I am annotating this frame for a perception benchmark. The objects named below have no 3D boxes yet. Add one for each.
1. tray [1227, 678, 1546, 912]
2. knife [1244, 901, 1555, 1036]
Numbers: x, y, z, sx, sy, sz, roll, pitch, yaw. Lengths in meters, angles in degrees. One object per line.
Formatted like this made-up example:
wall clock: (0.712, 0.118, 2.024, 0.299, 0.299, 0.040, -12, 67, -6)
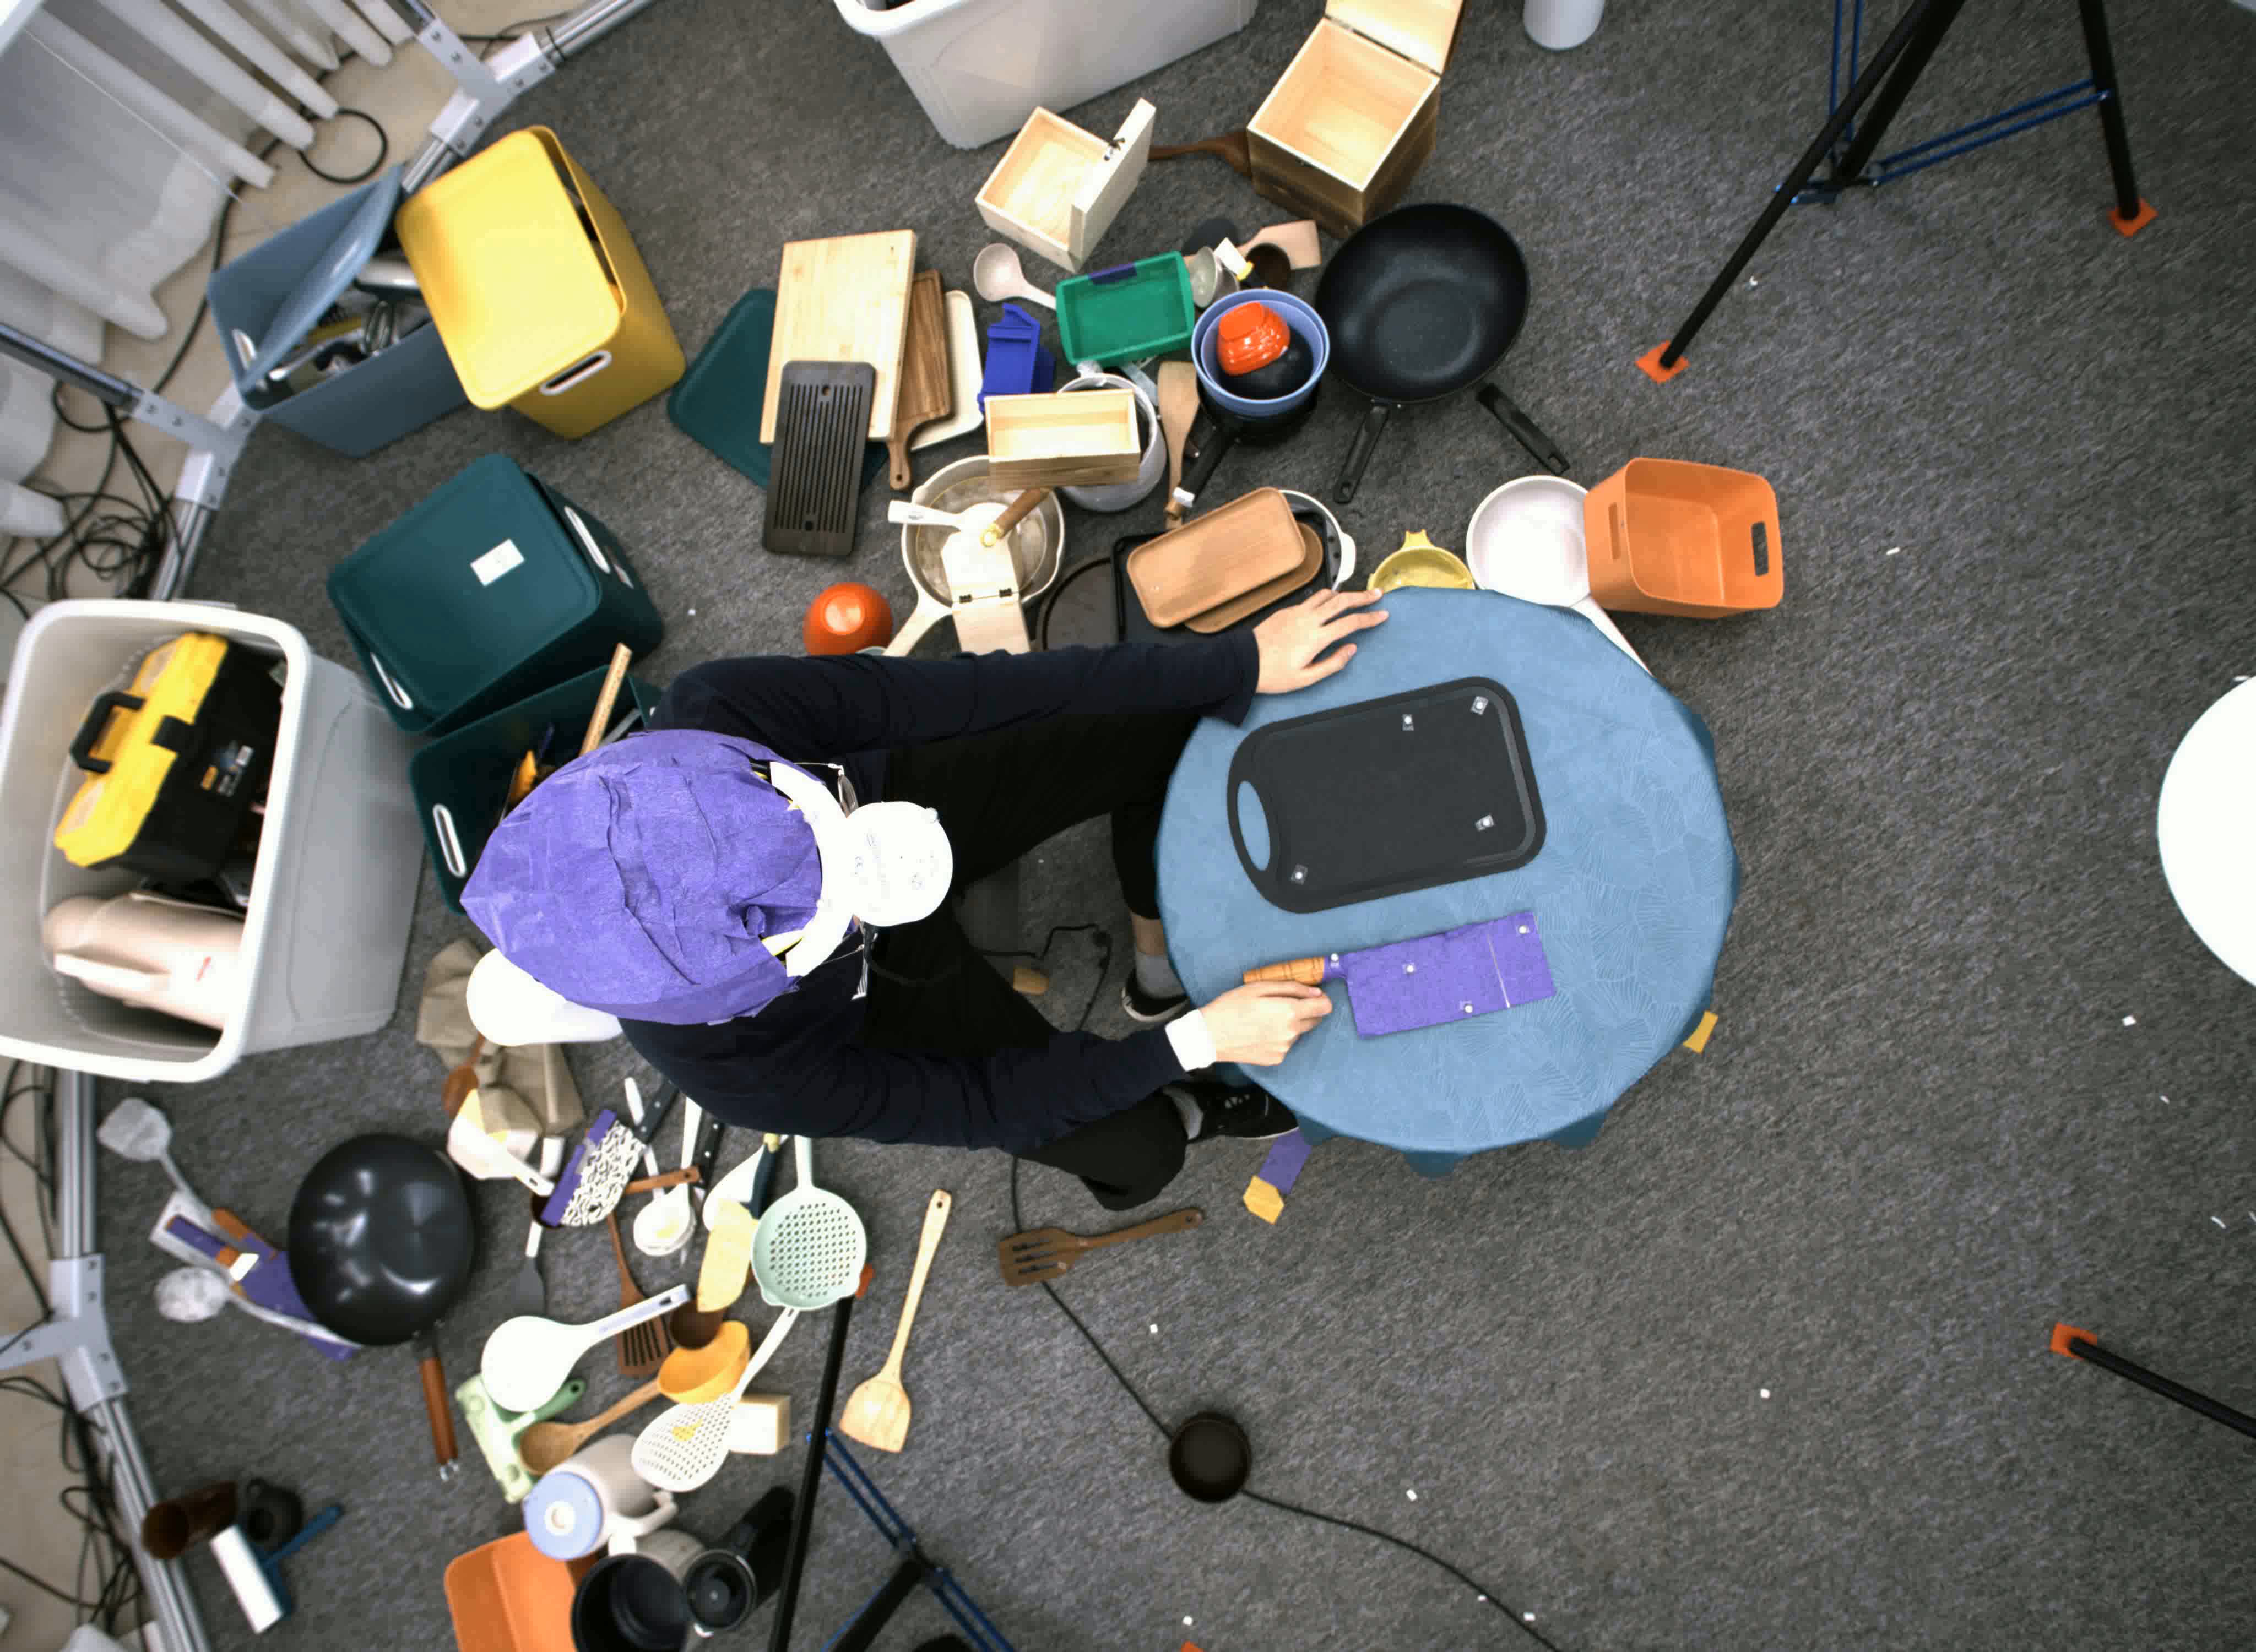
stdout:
tray: (0.267, -0.032, 1.463, 0.327, 0.010, 0.210, -12, 84, 10)
knife: (0.282, 0.163, 1.439, 0.317, 0.032, 0.103, -15, 84, 9)
